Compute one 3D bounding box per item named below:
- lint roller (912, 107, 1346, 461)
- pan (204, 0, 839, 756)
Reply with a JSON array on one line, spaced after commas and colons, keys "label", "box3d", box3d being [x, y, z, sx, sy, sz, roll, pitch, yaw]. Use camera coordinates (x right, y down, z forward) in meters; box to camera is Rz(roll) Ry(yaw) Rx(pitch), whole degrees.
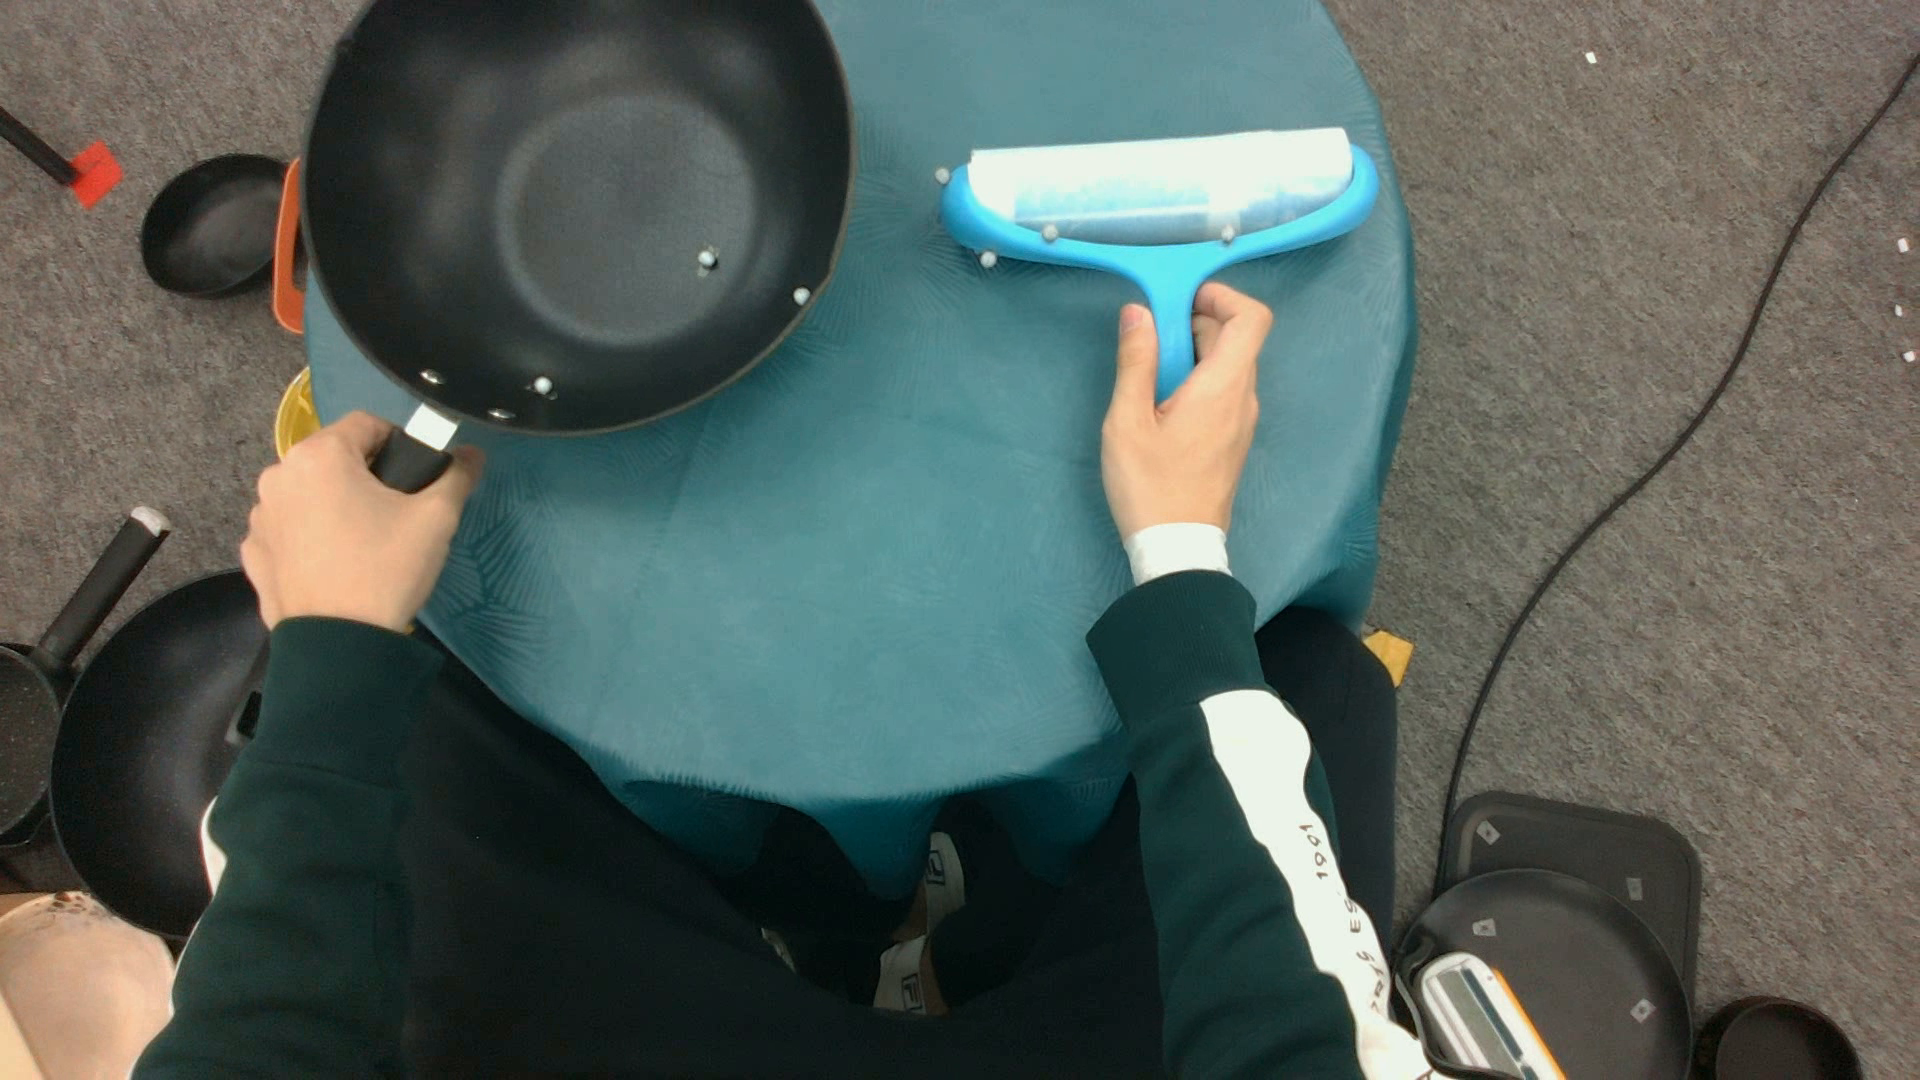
[{"label": "lint roller", "box3d": [0.097, -0.136, 0.714, 0.229, 0.068, 0.180, -7, 76, -3]}, {"label": "pan", "box3d": [-0.235, -0.100, 0.700, 0.288, 0.087, 0.463, 26, 86, 9]}]
